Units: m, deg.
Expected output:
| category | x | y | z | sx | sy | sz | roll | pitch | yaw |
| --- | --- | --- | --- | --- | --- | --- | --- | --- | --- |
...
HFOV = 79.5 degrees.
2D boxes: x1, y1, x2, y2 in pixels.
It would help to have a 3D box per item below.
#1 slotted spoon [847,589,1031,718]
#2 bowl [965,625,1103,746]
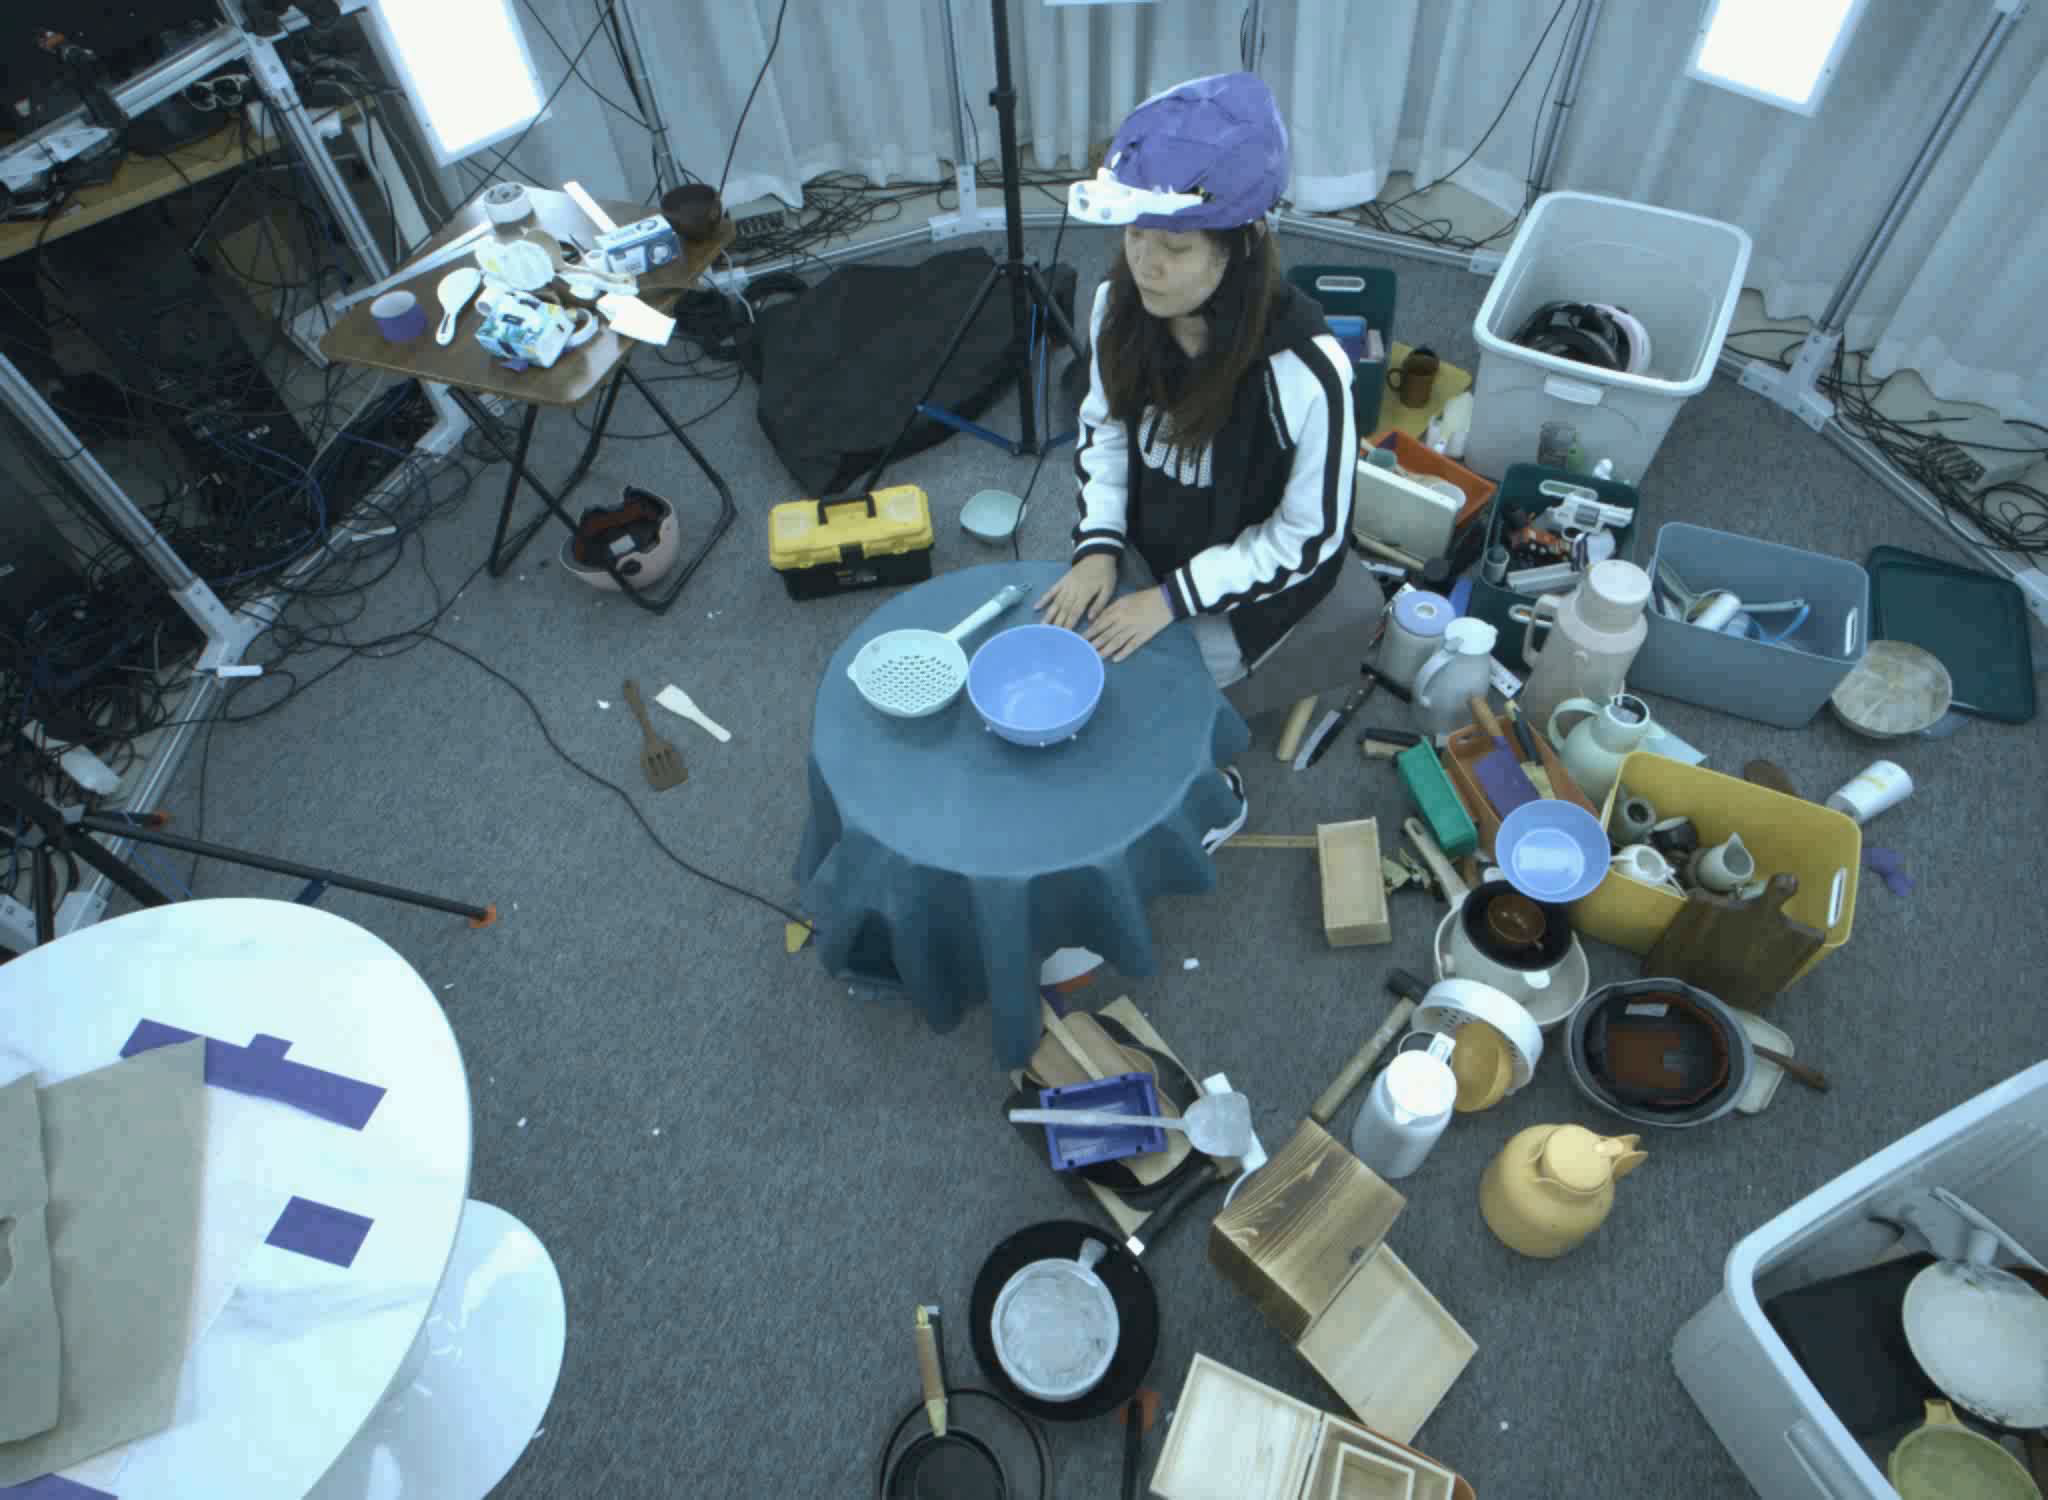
| category | x | y | z | sx | sy | sz | roll | pitch | yaw |
| --- | --- | --- | --- | --- | --- | --- | --- | --- | --- |
| slotted spoon | -0.107 | -0.165 | 1.873 | 0.166 | 0.076 | 0.361 | 33 | 60 | 22 |
| bowl | 0.017 | -0.078 | 1.785 | 0.196 | 0.096 | 0.194 | -1 | 54 | 2 |
